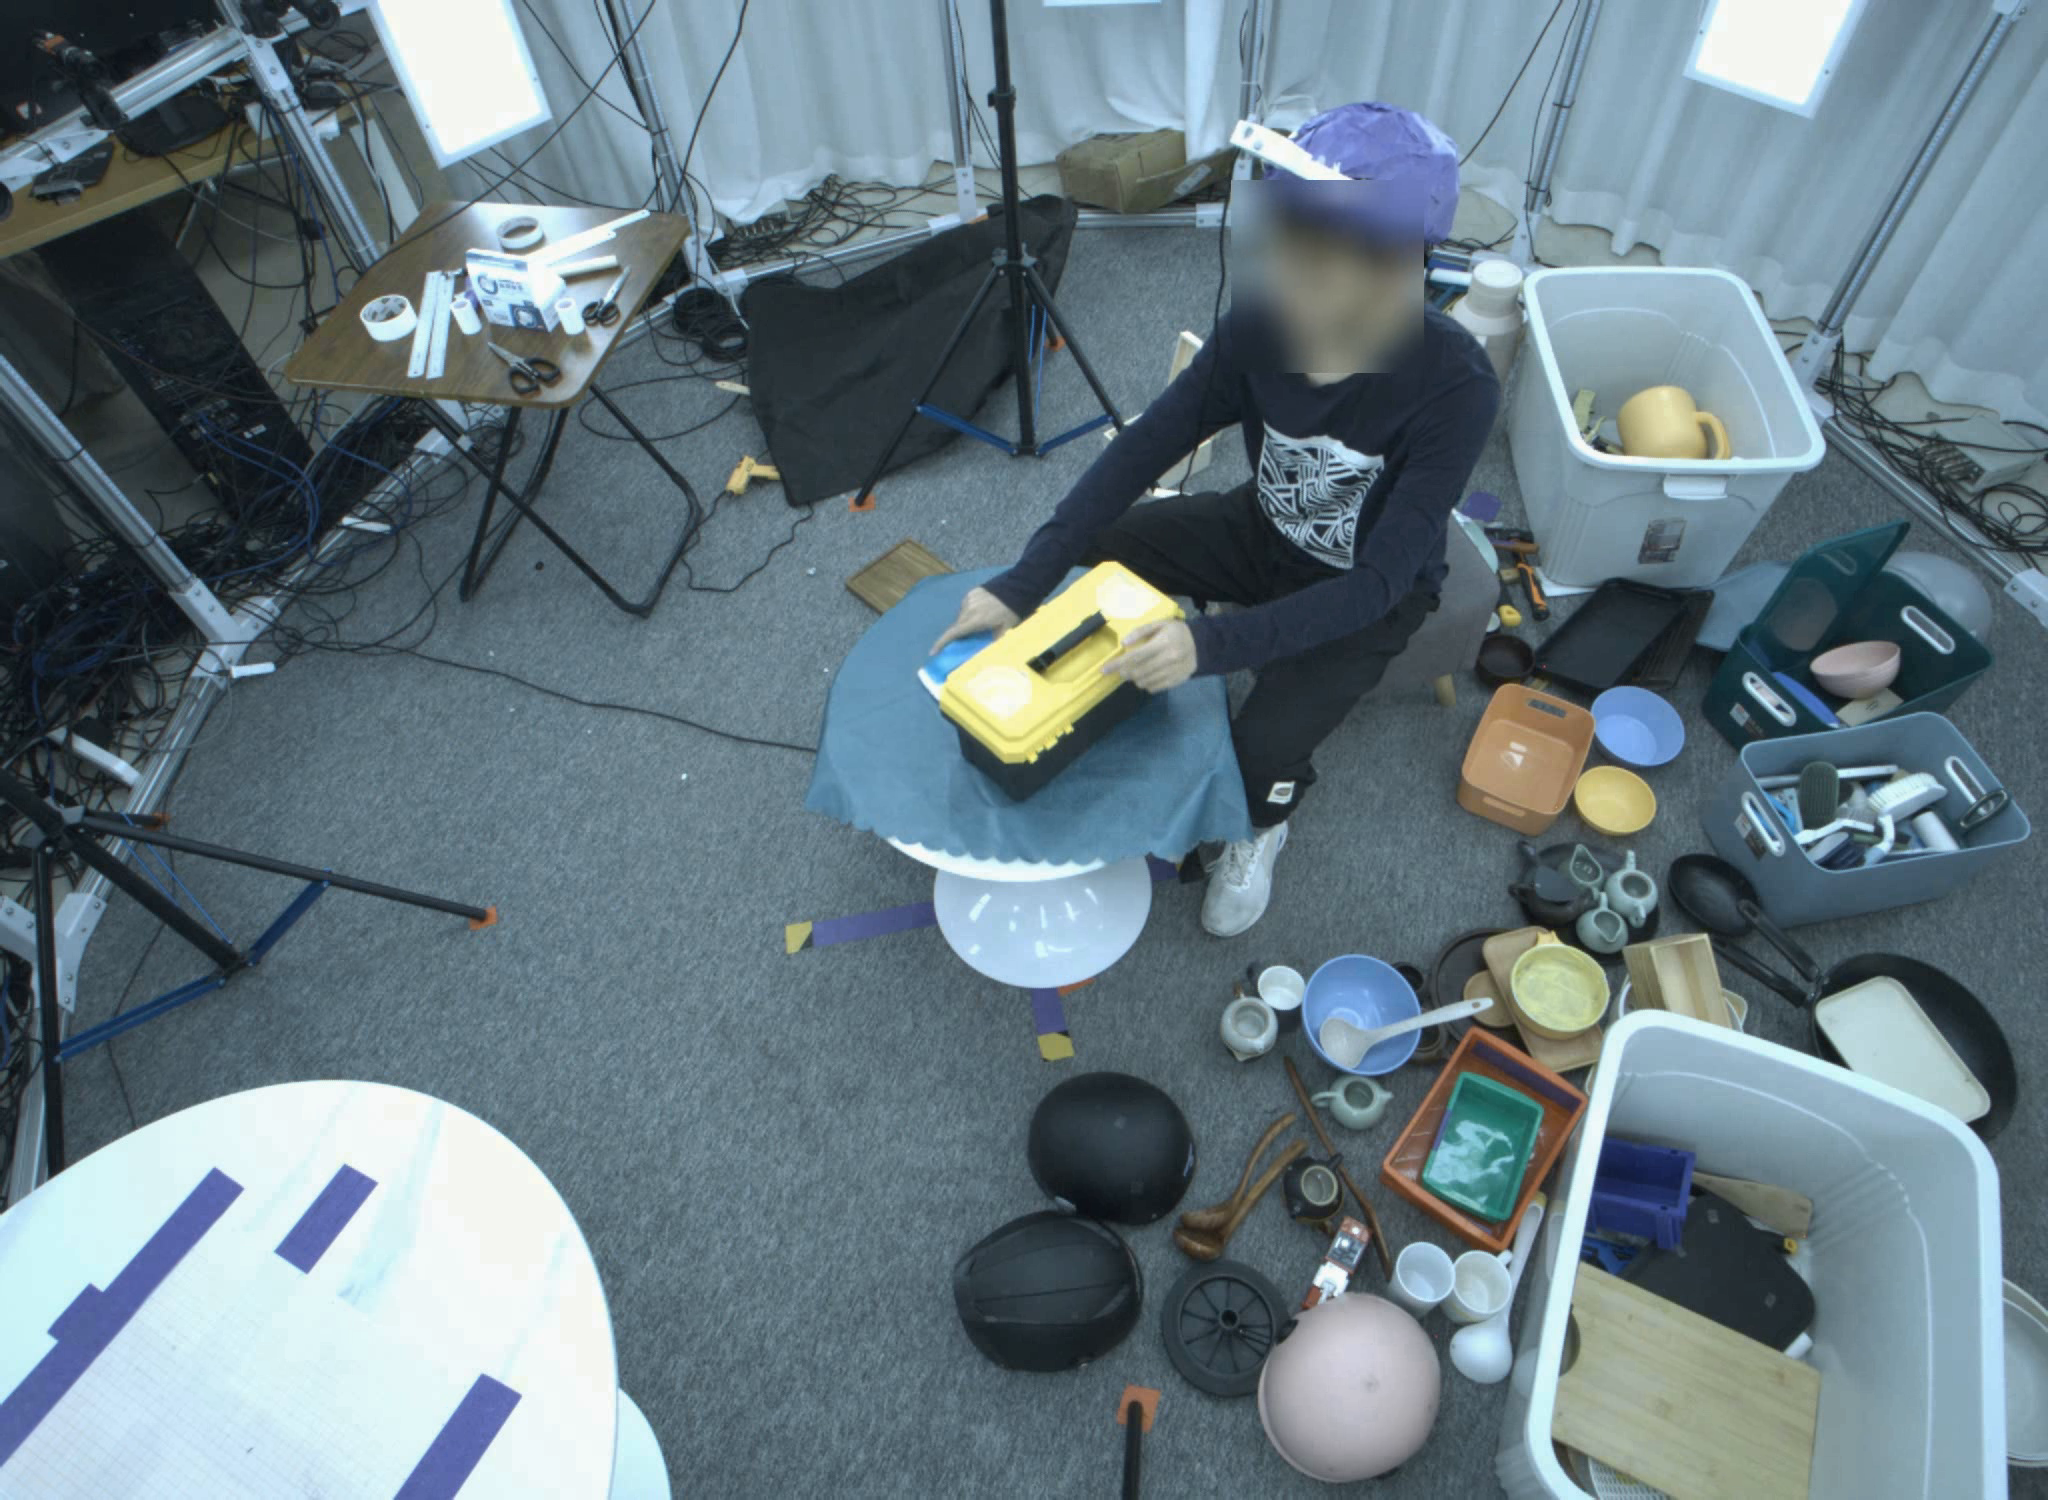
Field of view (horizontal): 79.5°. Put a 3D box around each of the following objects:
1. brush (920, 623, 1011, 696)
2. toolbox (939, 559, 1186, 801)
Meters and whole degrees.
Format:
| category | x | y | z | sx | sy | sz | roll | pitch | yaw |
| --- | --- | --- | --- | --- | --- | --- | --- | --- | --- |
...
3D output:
| category | x | y | z | sx | sy | sz | roll | pitch | yaw |
| --- | --- | --- | --- | --- | --- | --- | --- | --- | --- |
| brush | -0.084 | -0.144 | 1.847 | 0.145 | 0.056 | 0.082 | -30 | 61 | -15 |
| toolbox | 0.058 | -0.099 | 1.741 | 0.354 | 0.175 | 0.178 | -39 | 61 | -22 |
